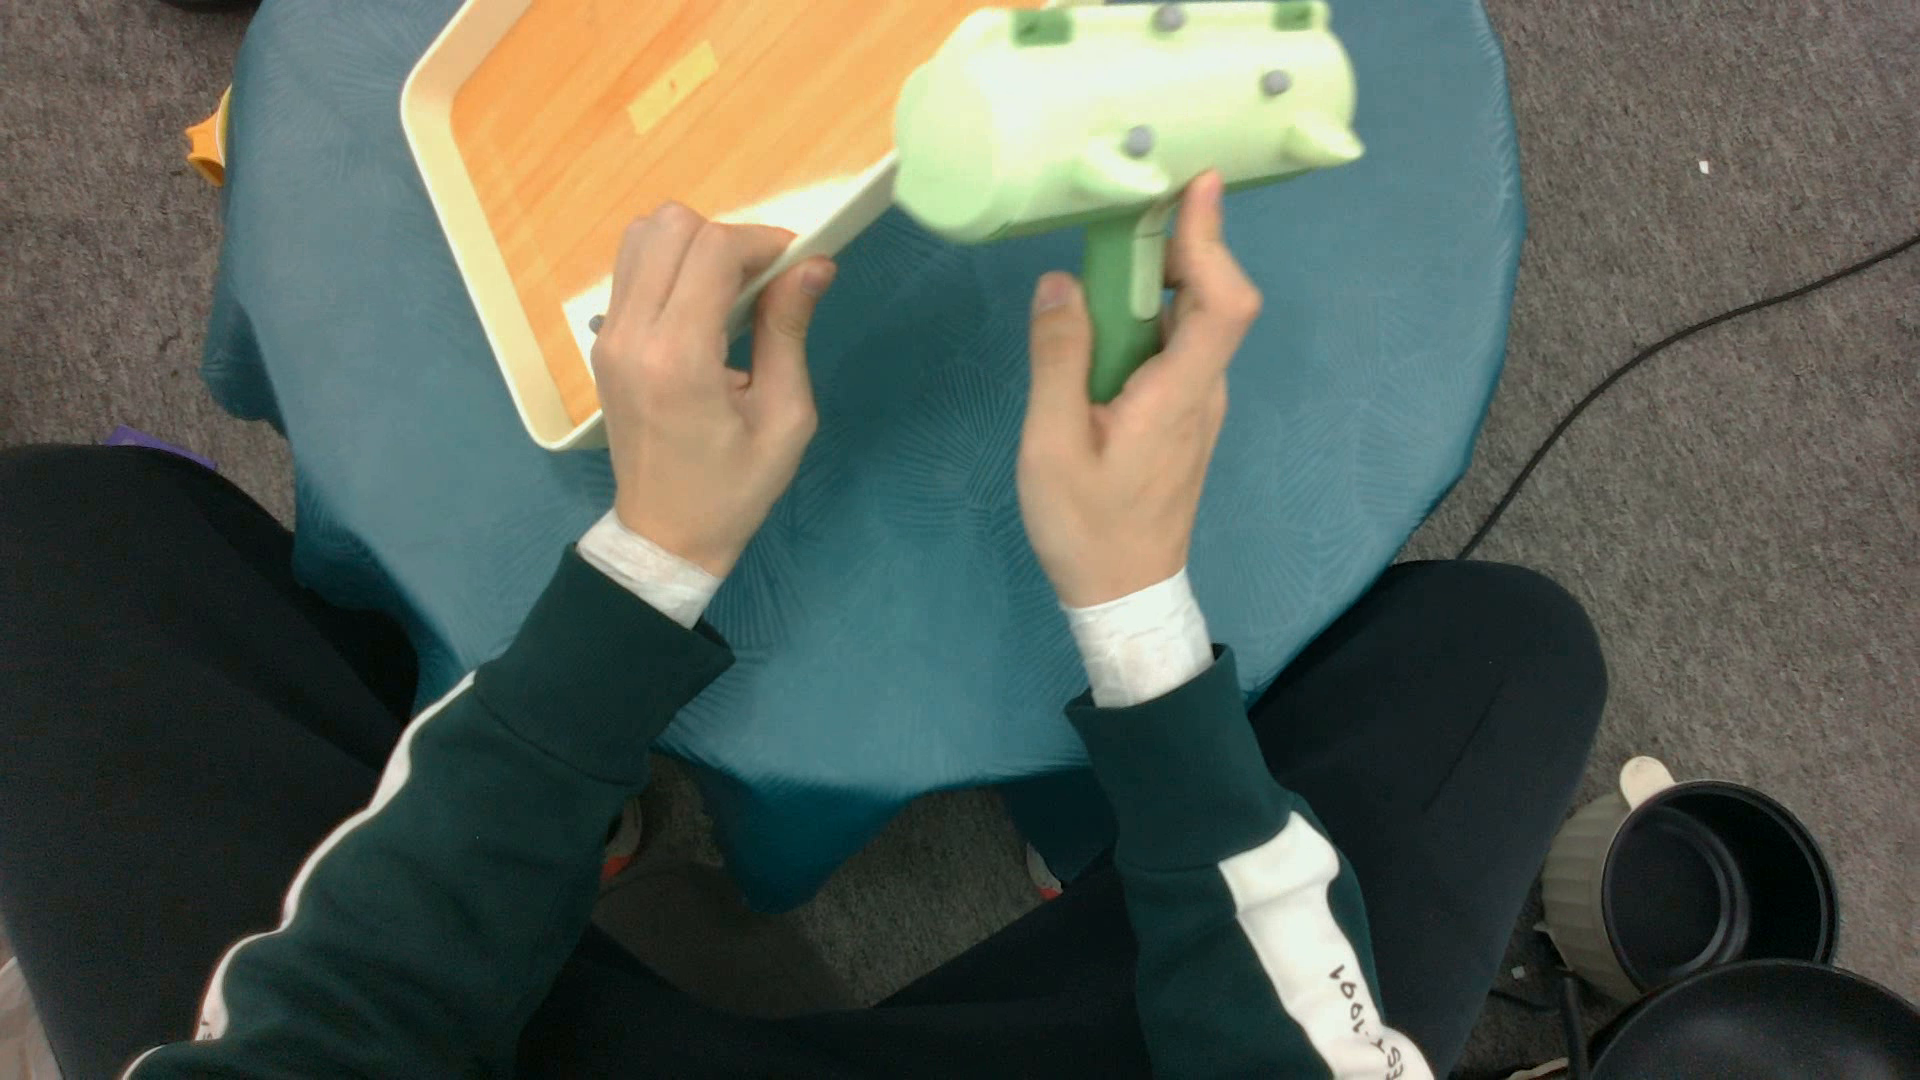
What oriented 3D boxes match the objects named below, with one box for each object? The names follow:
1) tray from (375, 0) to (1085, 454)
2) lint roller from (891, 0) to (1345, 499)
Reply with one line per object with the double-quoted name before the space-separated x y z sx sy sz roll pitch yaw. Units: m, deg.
"tray" -0.107 -0.184 0.530 0.299 0.027 0.192 -34 76 29
"lint roller" 0.064 -0.094 0.476 0.199 0.082 0.182 -24 121 -45
